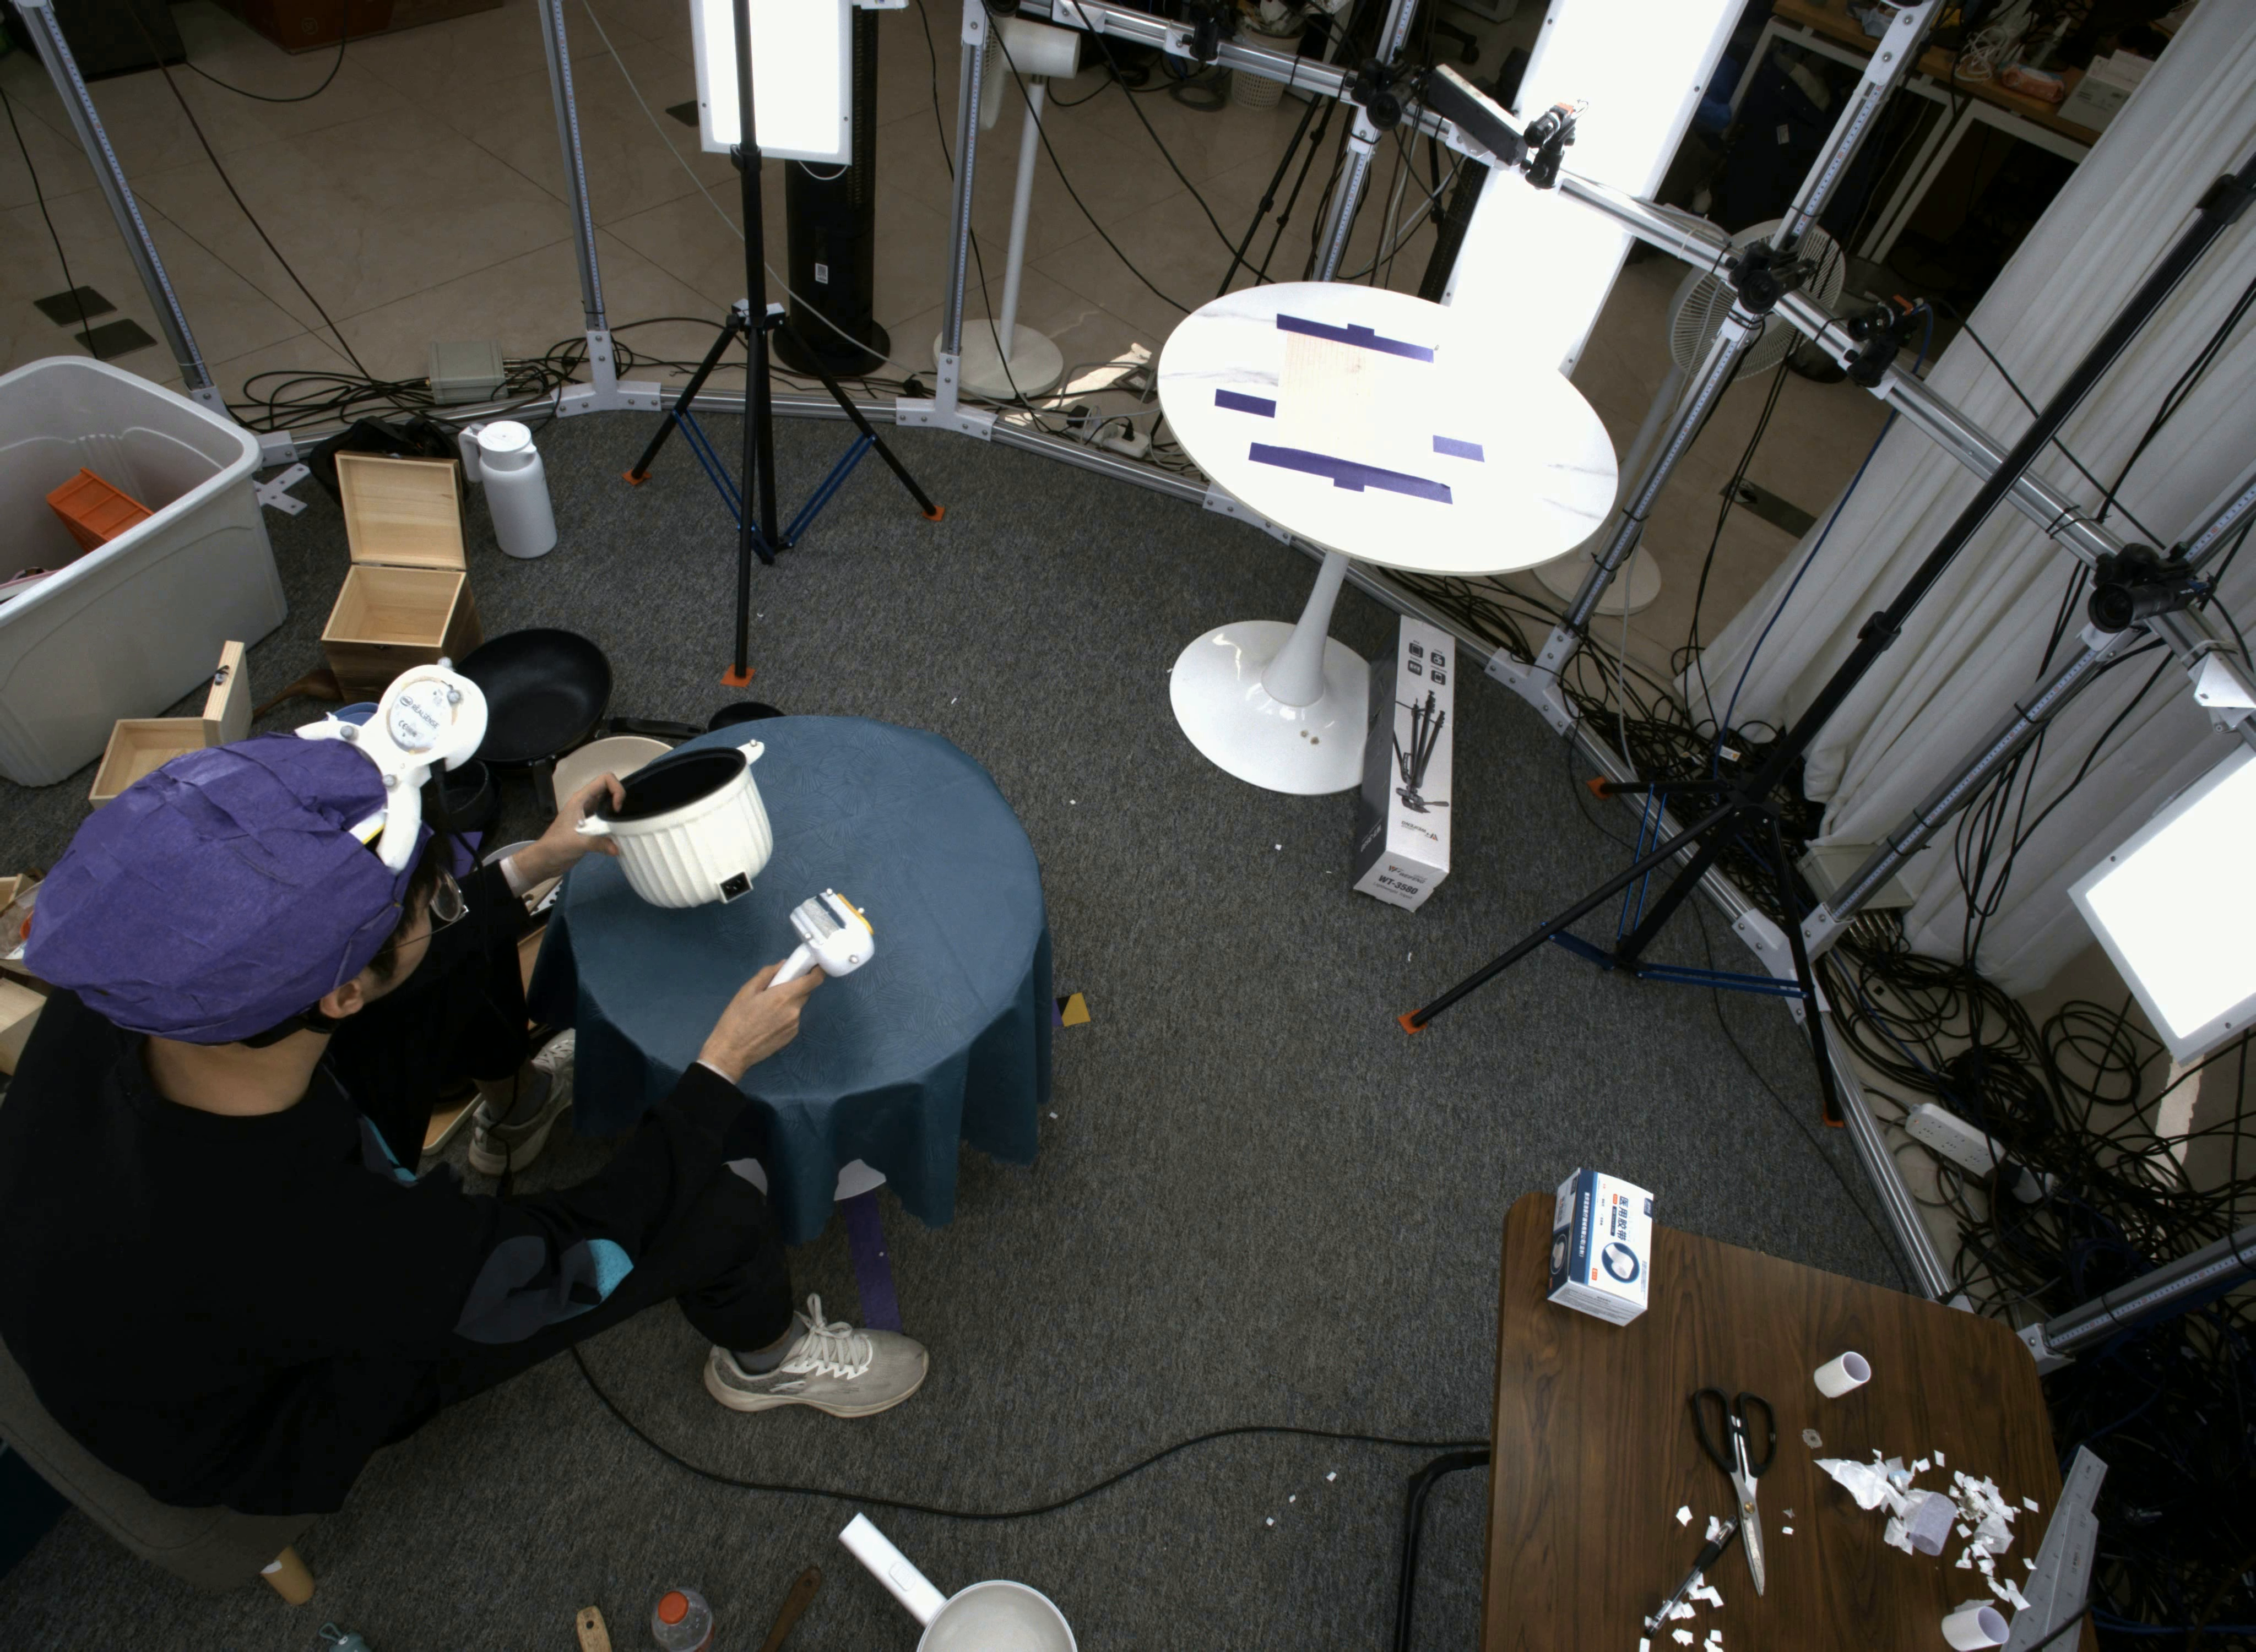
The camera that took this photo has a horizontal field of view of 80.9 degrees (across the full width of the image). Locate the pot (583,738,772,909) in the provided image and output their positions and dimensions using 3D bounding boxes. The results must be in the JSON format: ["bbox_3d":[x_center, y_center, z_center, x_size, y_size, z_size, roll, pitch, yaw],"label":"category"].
[{"bbox_3d":[-0.523,0.003,1.531,0.241,0.148,0.183,-32,37,-32],"label":"pot"}]

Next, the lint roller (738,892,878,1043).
[{"bbox_3d":[-0.383,0.165,1.497,0.192,0.077,0.186,-39,29,-11],"label":"lint roller"}]
